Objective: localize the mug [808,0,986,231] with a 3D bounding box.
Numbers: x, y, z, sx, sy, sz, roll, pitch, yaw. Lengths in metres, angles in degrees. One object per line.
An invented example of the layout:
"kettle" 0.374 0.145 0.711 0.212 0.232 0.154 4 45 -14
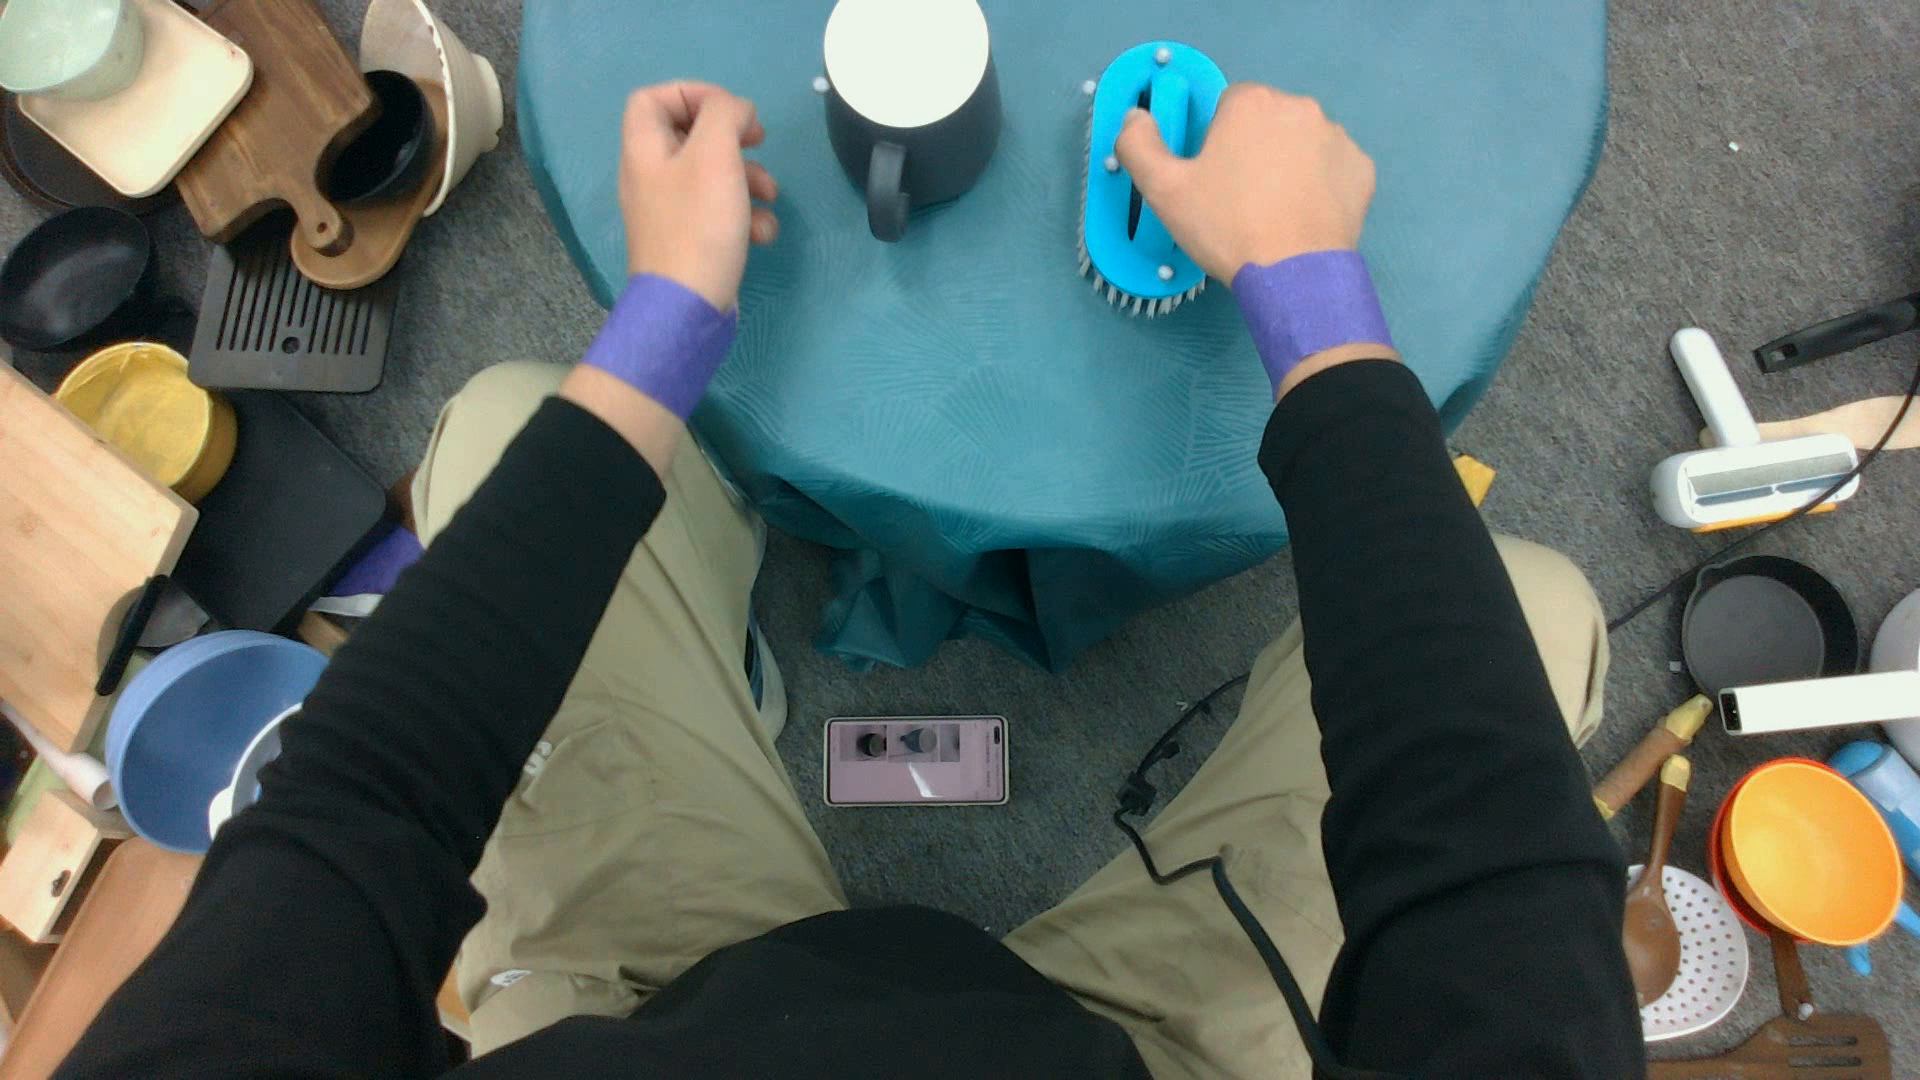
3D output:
"mug" -0.036 -0.219 0.702 0.093 0.090 0.123 13 80 3

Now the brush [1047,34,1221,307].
"brush" 0.093 -0.196 0.714 0.084 0.063 0.142 7 82 -4
